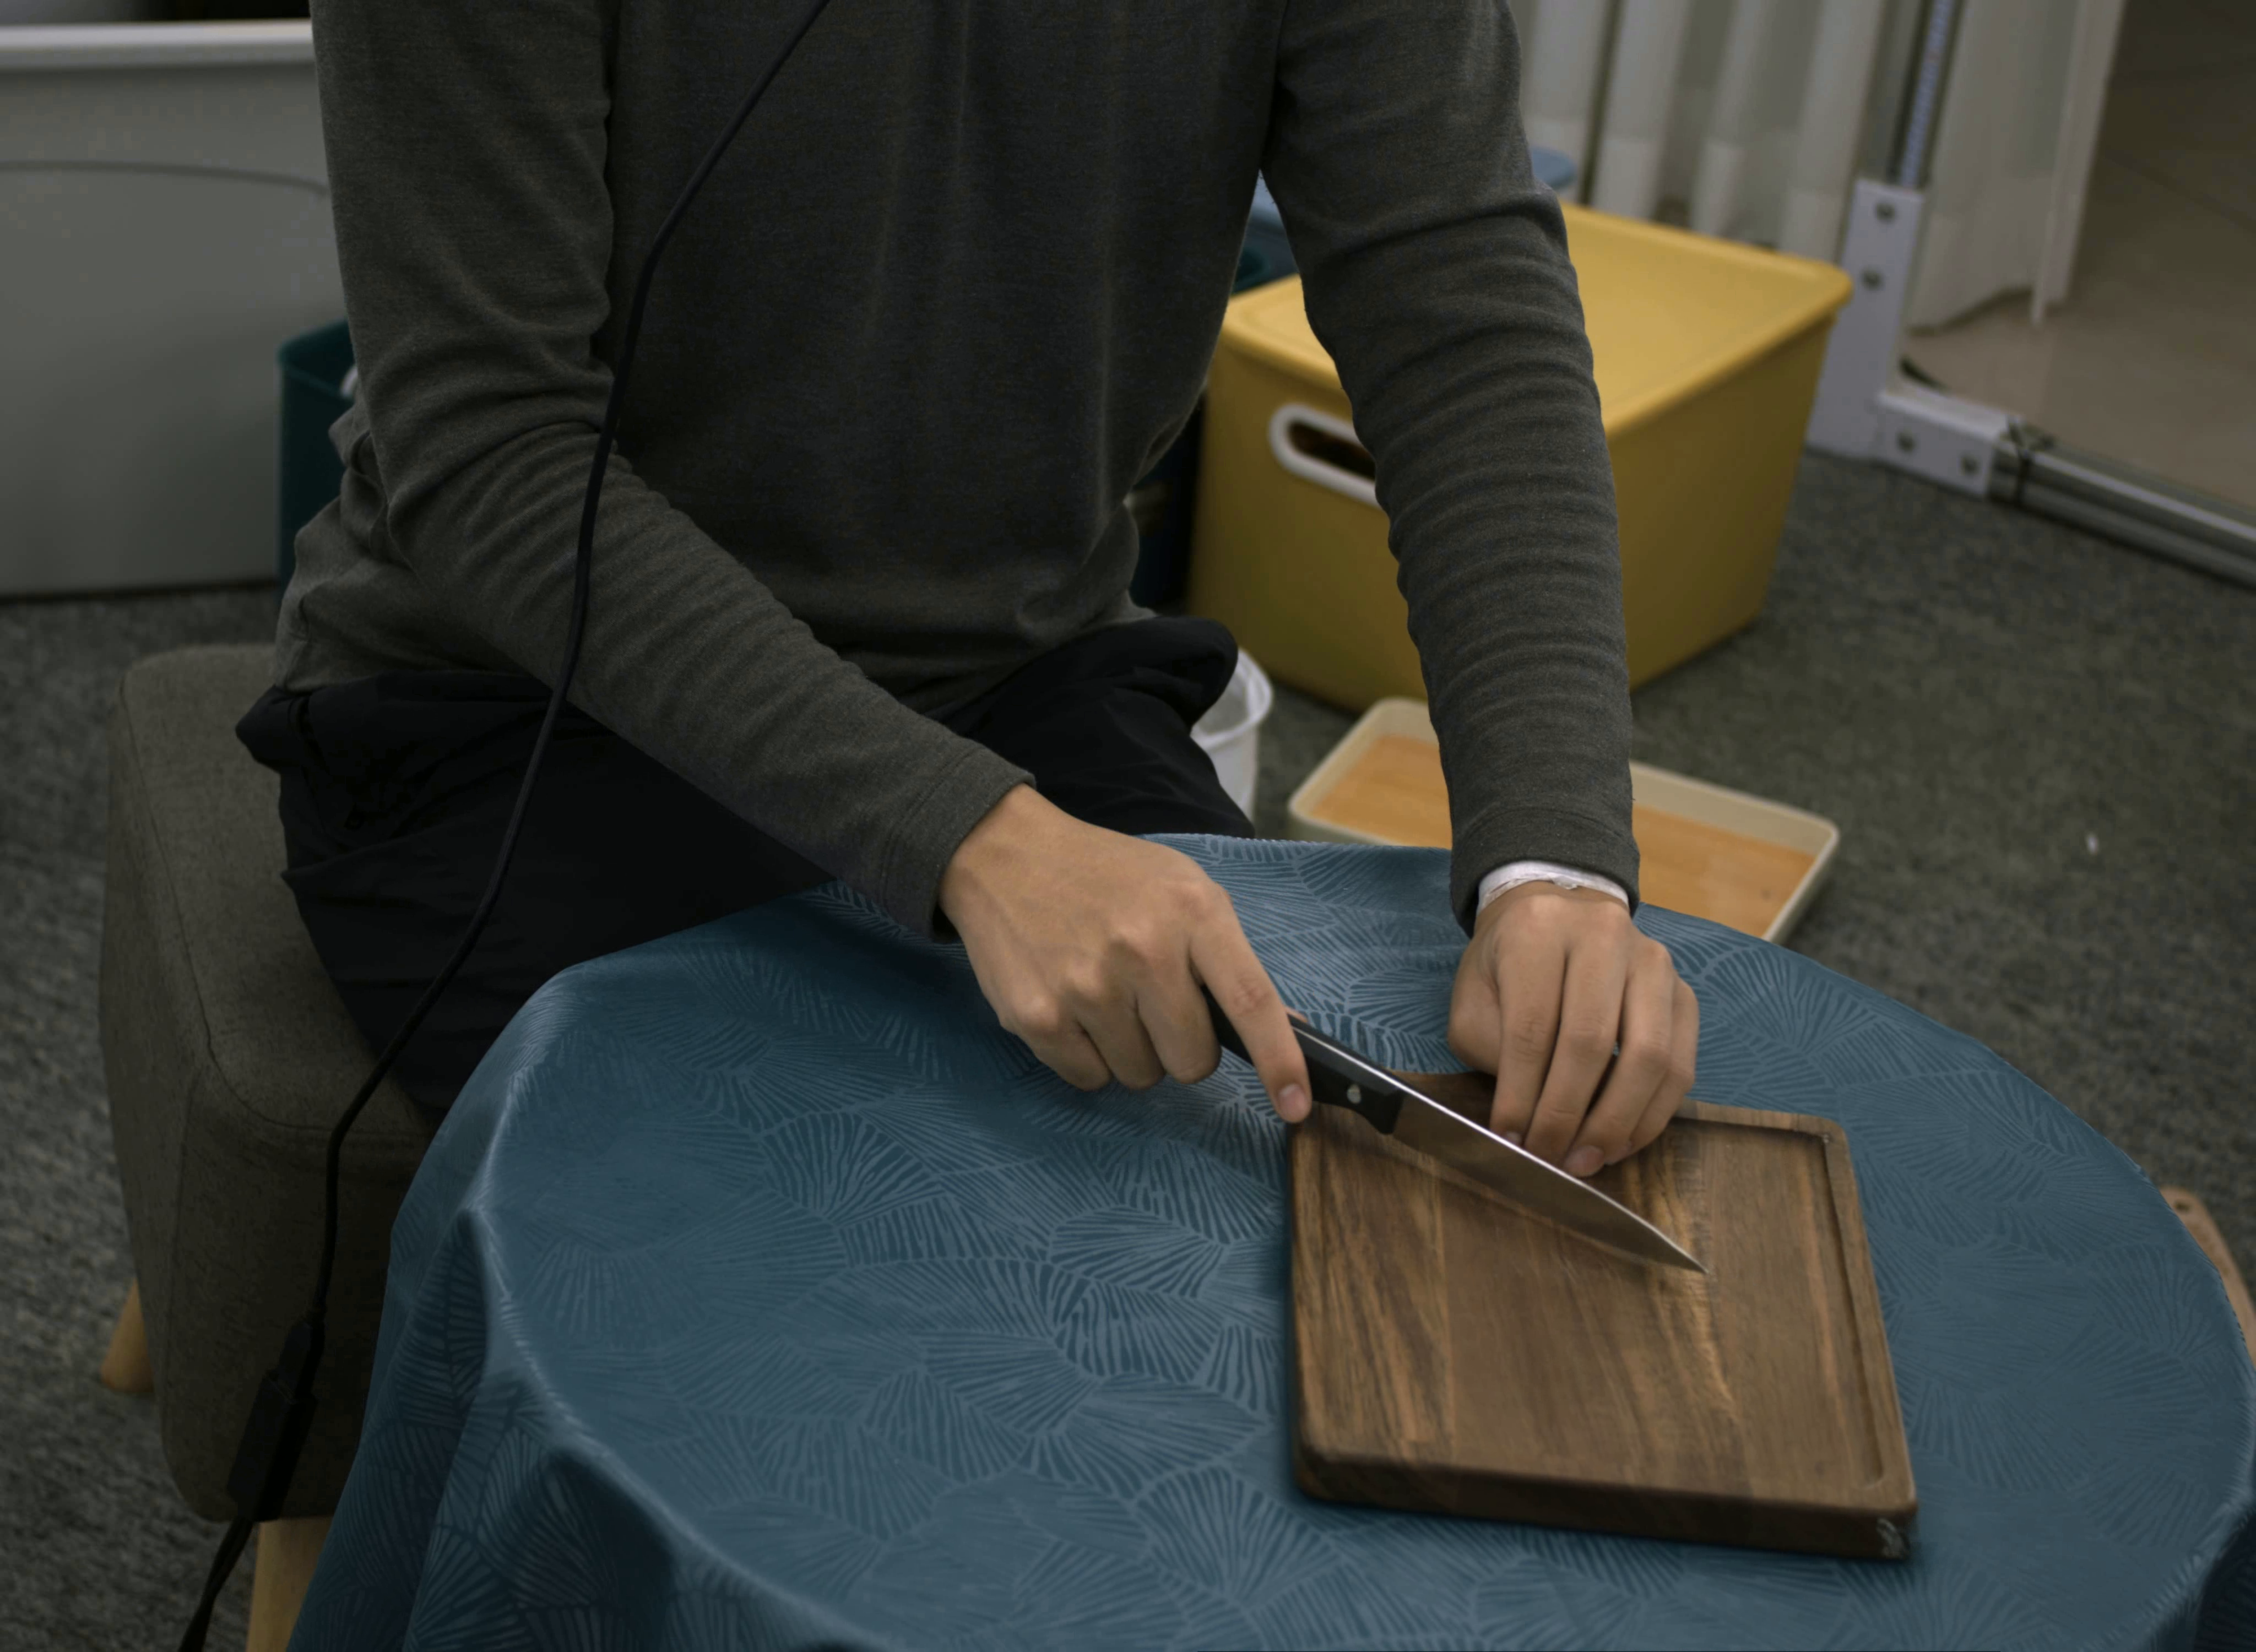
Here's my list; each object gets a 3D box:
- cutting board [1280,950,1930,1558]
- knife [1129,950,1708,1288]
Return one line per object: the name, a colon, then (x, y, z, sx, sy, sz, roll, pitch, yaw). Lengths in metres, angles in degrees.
cutting board: (0.152, 0.133, 1.799, 0.200, 0.023, 0.354, 6, 26, -2)
knife: (0.097, 0.098, 1.804, 0.239, 0.024, 0.016, 28, 38, 27)
